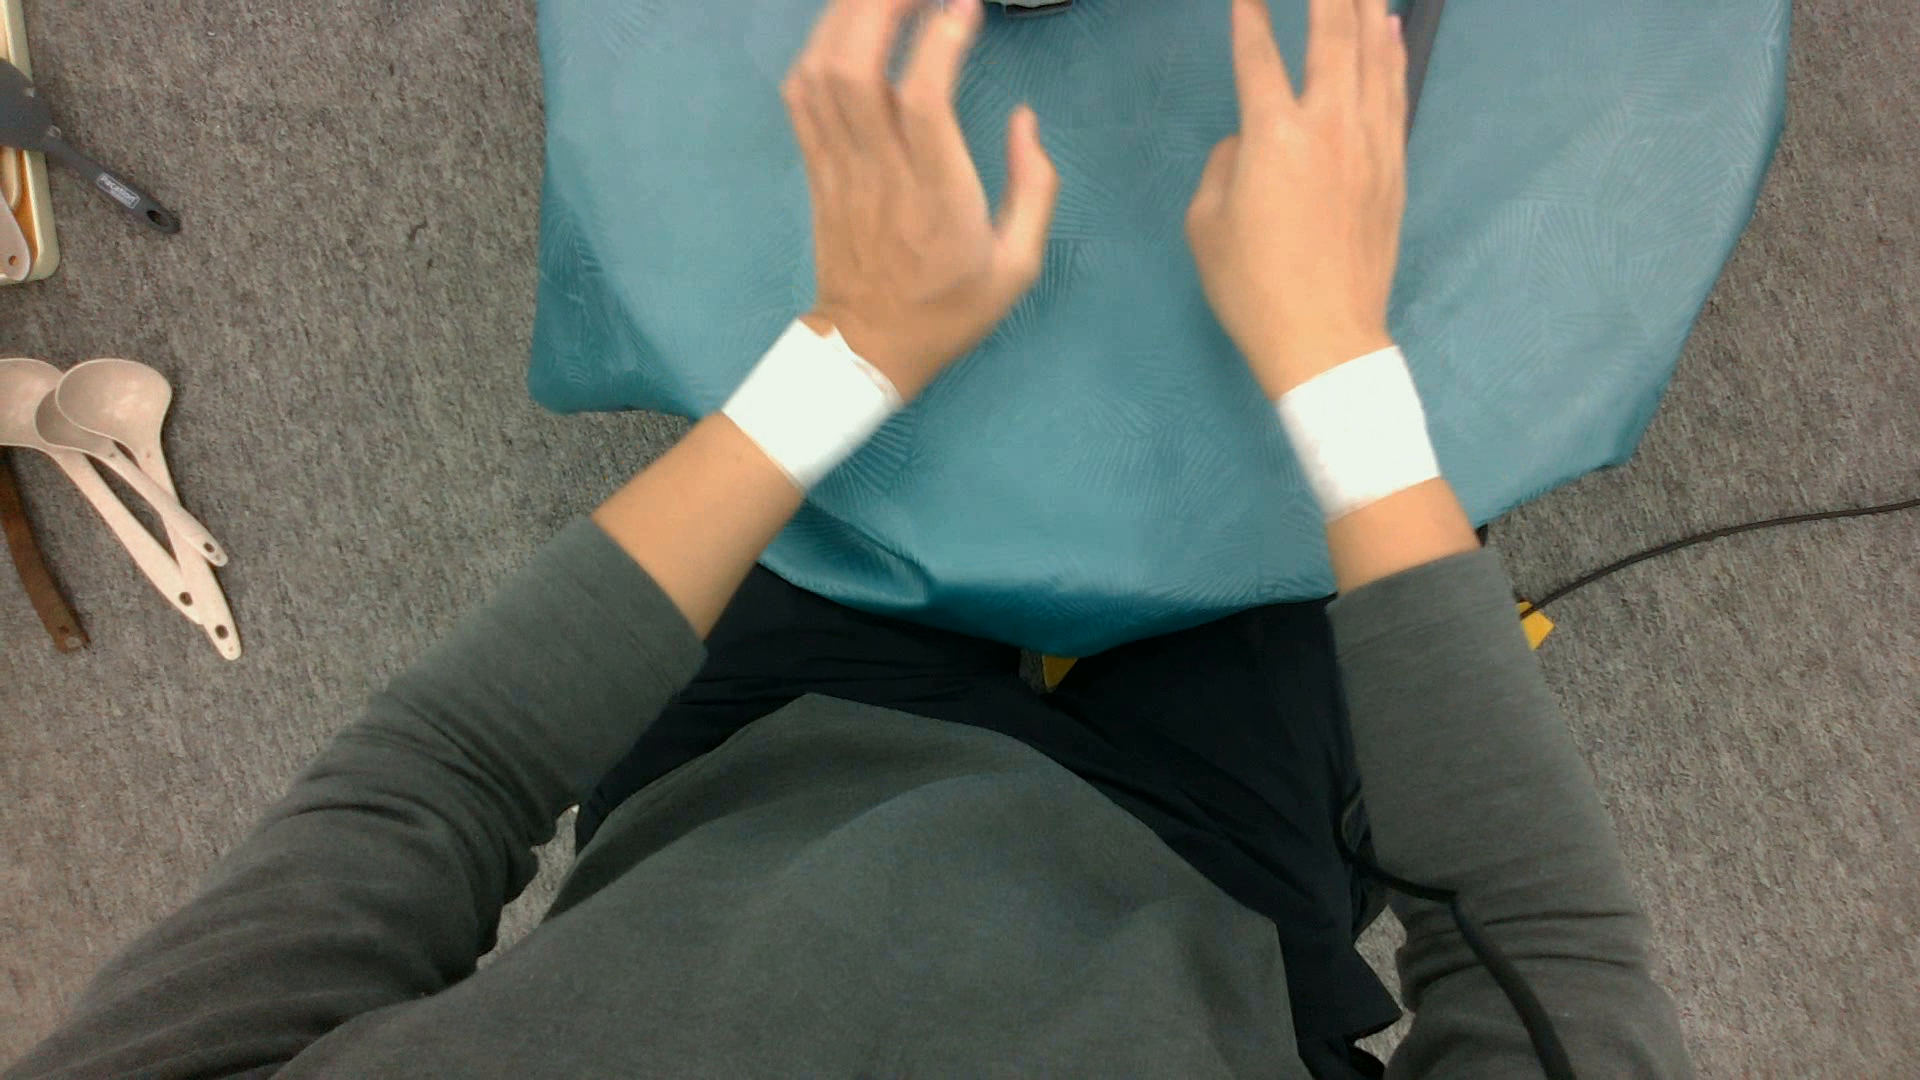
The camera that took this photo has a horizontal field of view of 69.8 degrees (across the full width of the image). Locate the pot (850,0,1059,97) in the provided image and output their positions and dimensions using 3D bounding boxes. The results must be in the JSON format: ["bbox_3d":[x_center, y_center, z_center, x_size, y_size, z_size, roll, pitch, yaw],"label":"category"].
[{"bbox_3d":[0.011,-0.313,0.594,0.179,0.136,0.233,22,90,1],"label":"pot"}]

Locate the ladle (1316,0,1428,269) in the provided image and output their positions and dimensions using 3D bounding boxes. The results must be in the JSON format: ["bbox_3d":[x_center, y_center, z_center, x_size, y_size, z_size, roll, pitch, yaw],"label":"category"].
[{"bbox_3d":[0.219,-0.279,0.629,0.086,0.064,0.314,18,90,6],"label":"ladle"}]
